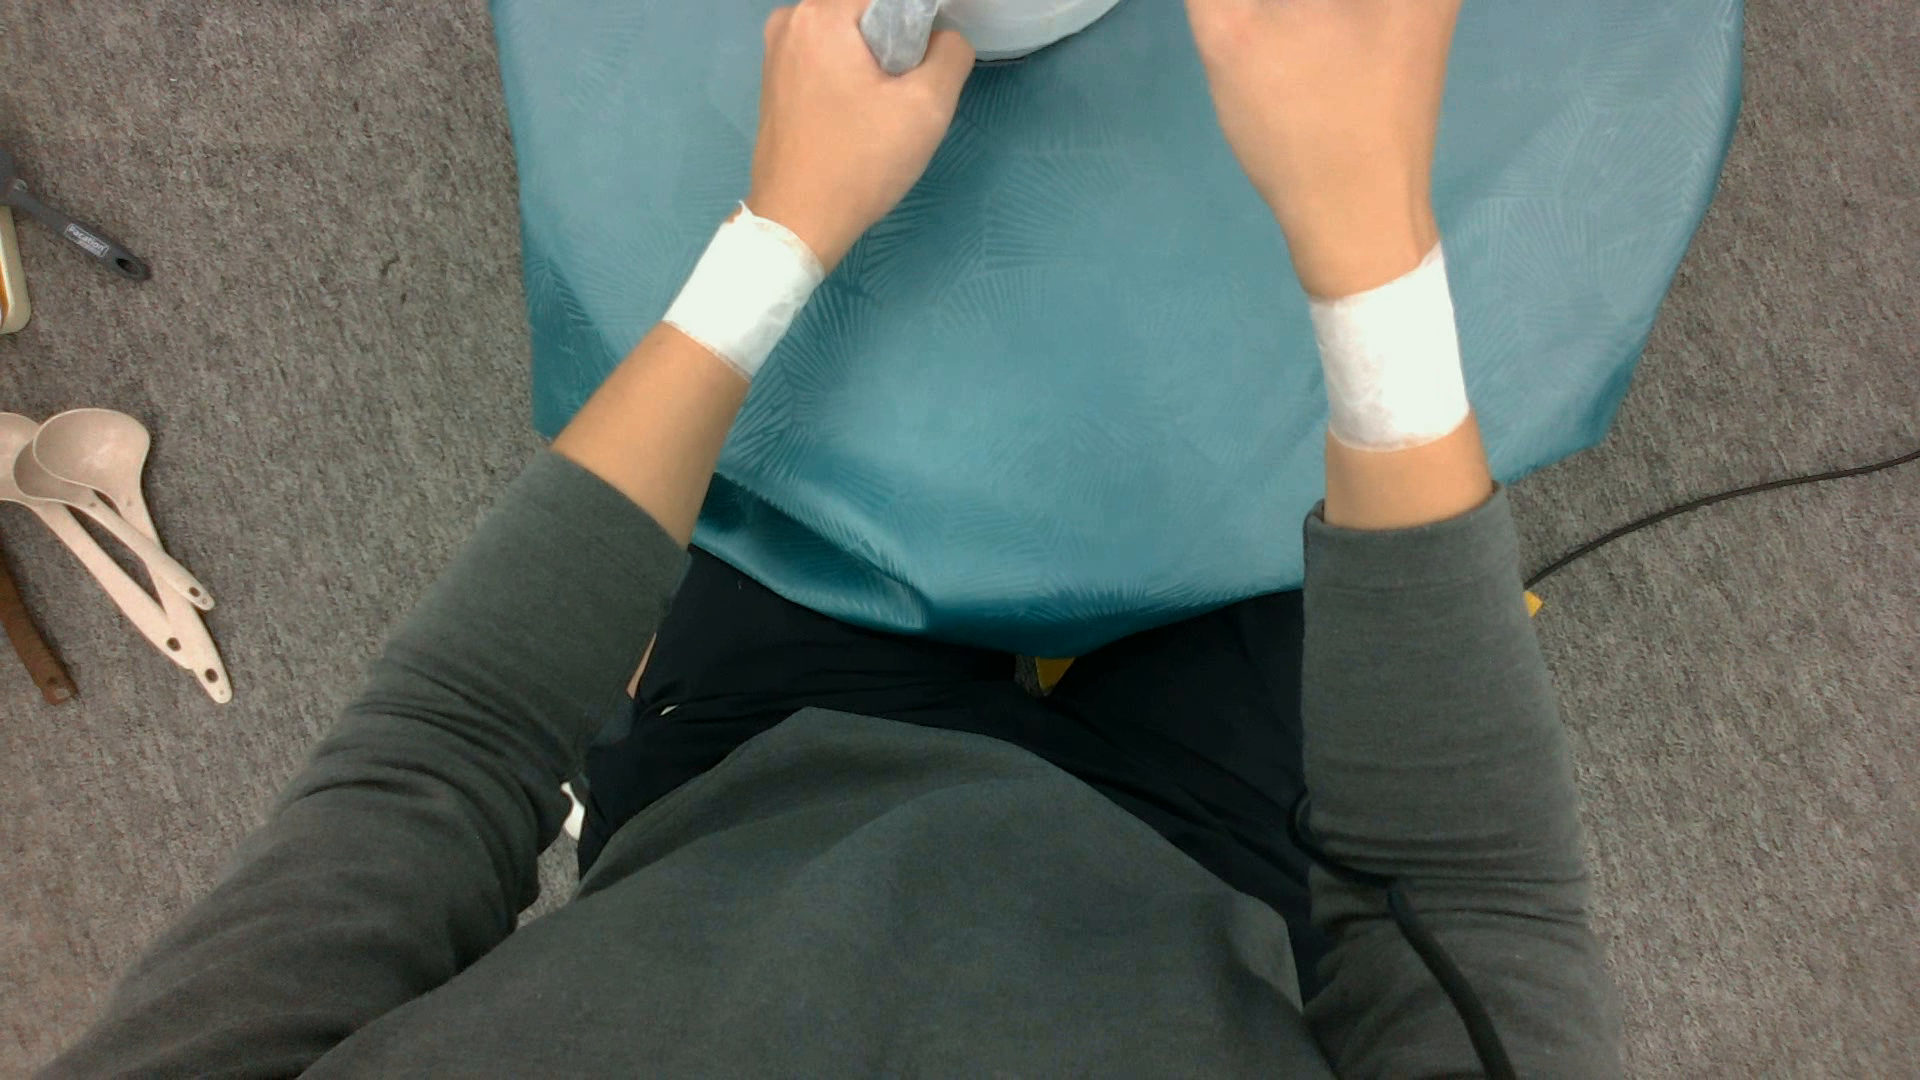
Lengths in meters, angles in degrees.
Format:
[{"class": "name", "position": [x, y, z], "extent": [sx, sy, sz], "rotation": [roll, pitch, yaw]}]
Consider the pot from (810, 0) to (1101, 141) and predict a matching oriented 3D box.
[{"class": "pot", "position": [0.002, -0.286, 0.587], "extent": [0.179, 0.136, 0.233], "rotation": [24, 90, -10]}]
